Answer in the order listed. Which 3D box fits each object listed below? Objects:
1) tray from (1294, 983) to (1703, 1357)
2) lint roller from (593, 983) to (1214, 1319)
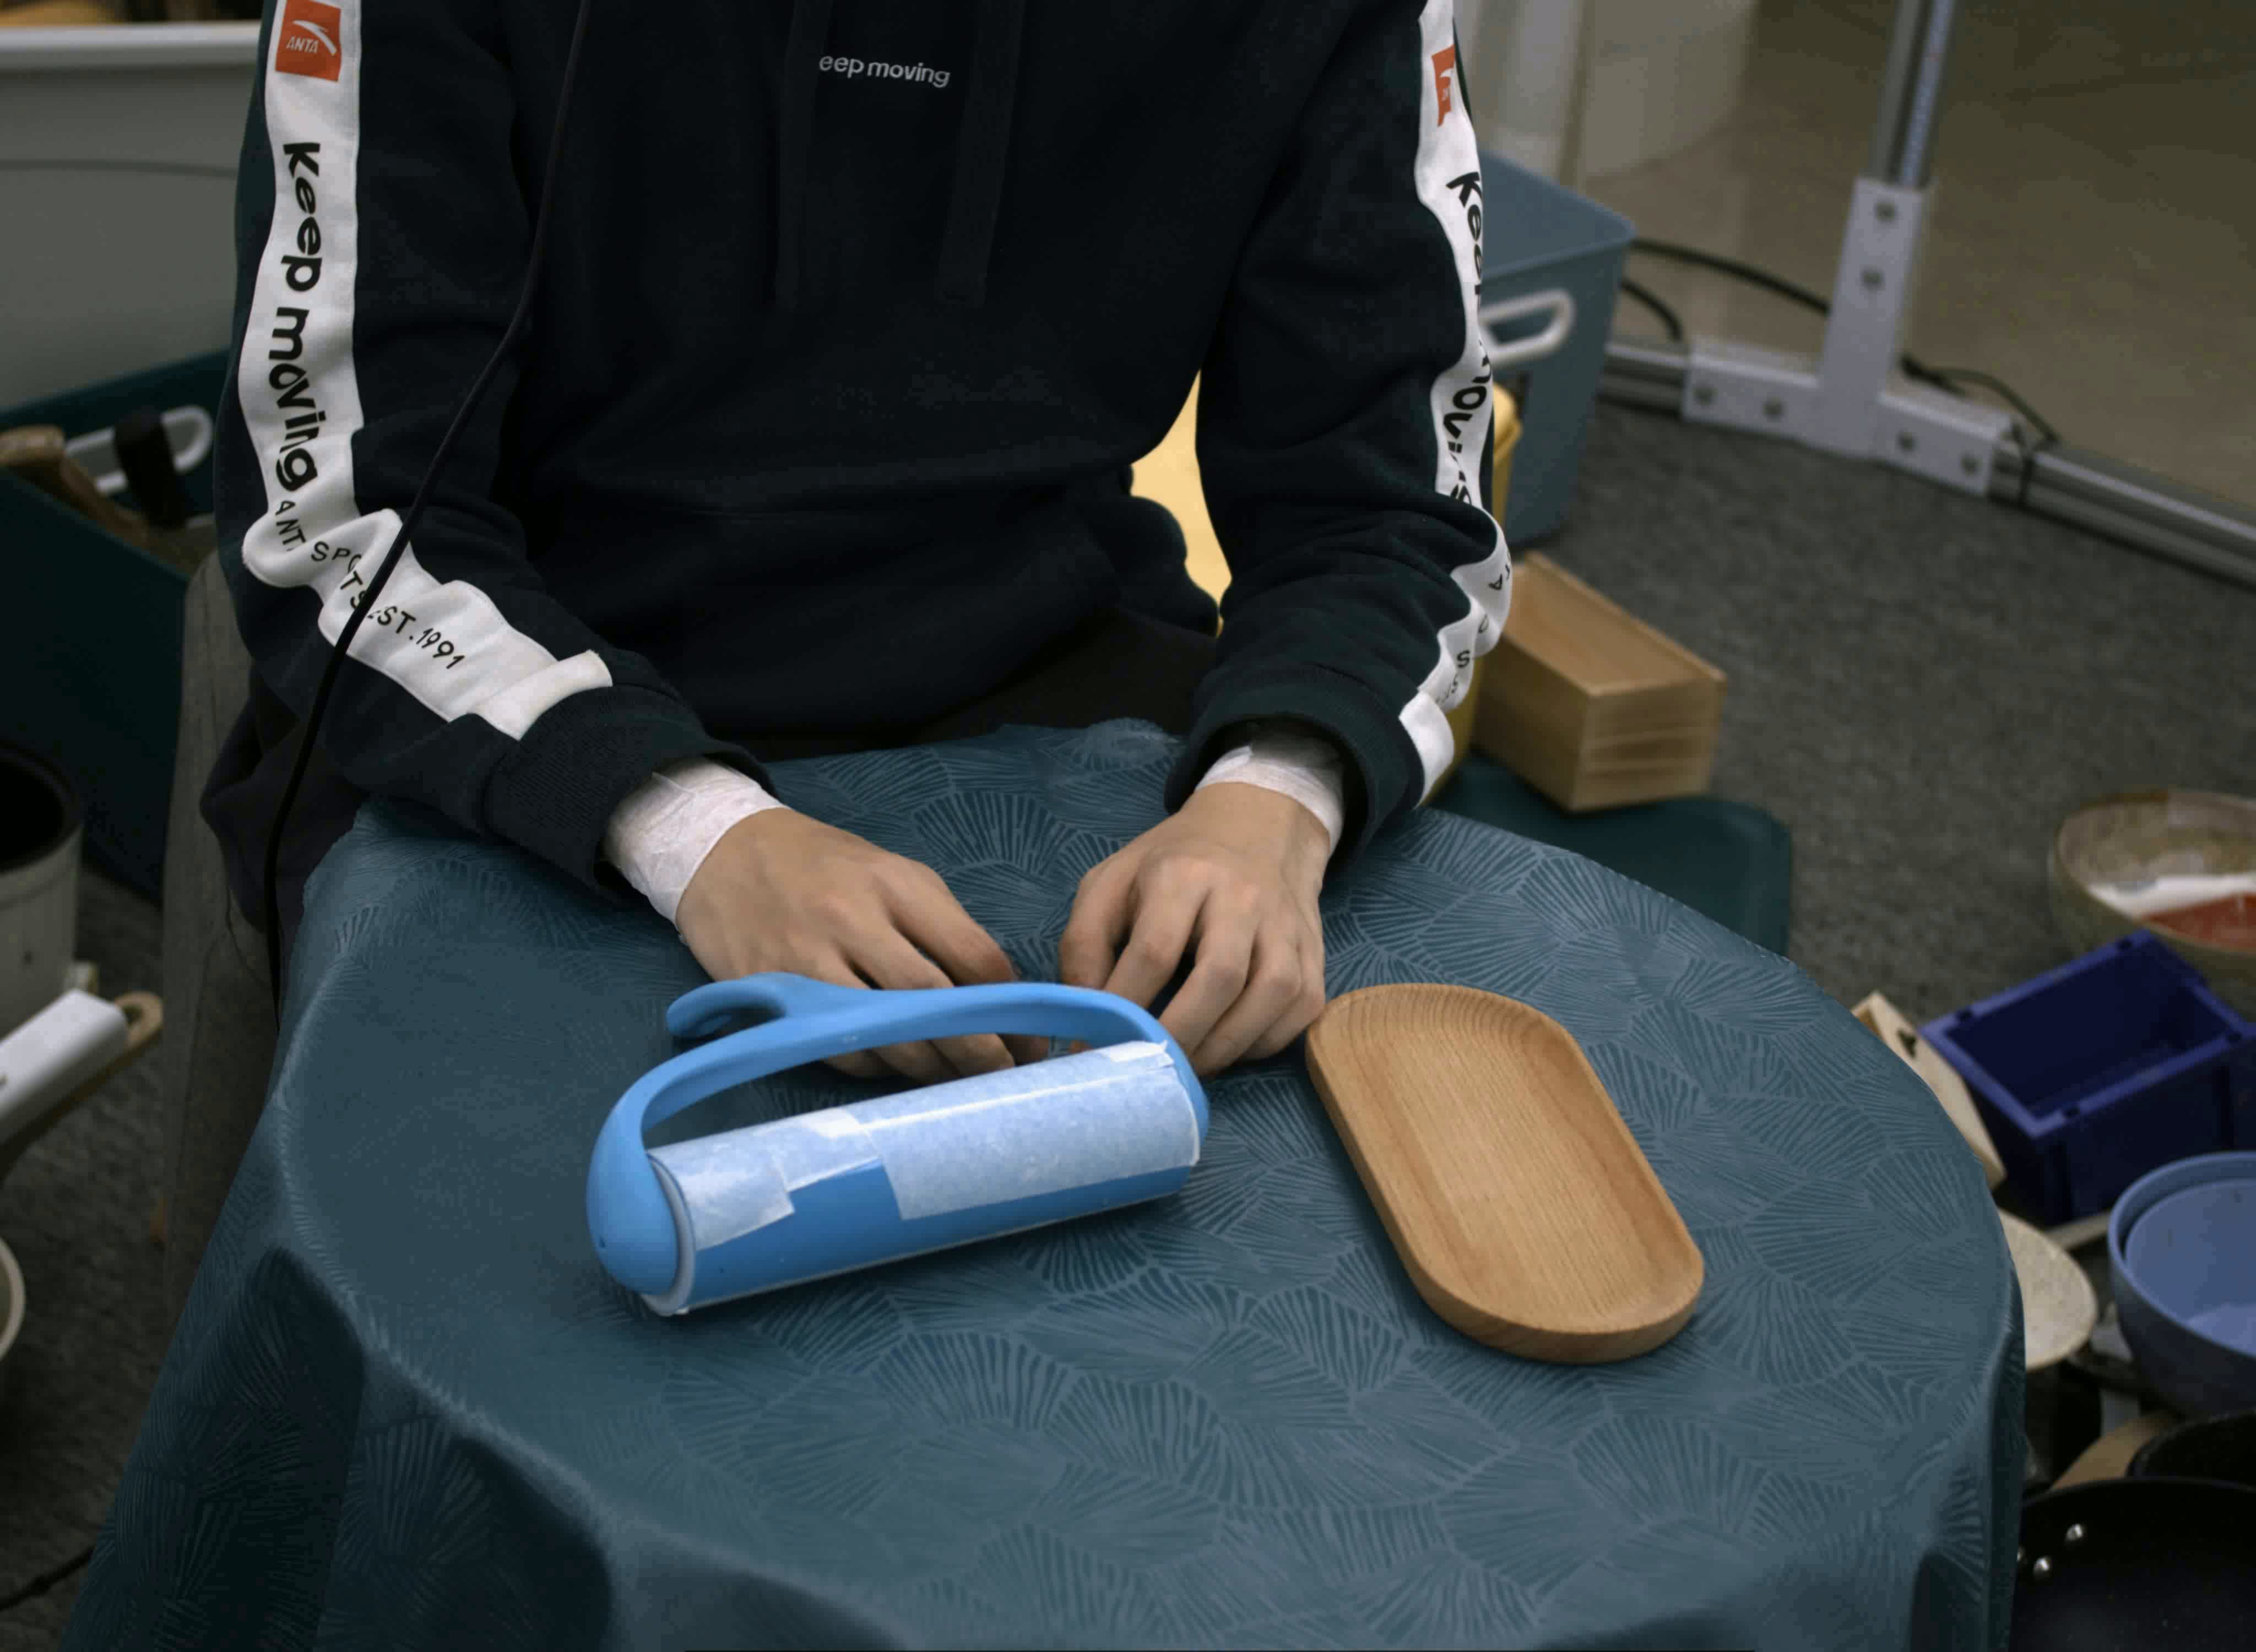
[{"bbox_3d":[0.124,0.115,1.825,0.101,0.020,0.233,0,26,-15],"label":"tray"},{"bbox_3d":[-0.104,0.087,1.783,0.227,0.067,0.182,-14,34,-32],"label":"lint roller"}]
